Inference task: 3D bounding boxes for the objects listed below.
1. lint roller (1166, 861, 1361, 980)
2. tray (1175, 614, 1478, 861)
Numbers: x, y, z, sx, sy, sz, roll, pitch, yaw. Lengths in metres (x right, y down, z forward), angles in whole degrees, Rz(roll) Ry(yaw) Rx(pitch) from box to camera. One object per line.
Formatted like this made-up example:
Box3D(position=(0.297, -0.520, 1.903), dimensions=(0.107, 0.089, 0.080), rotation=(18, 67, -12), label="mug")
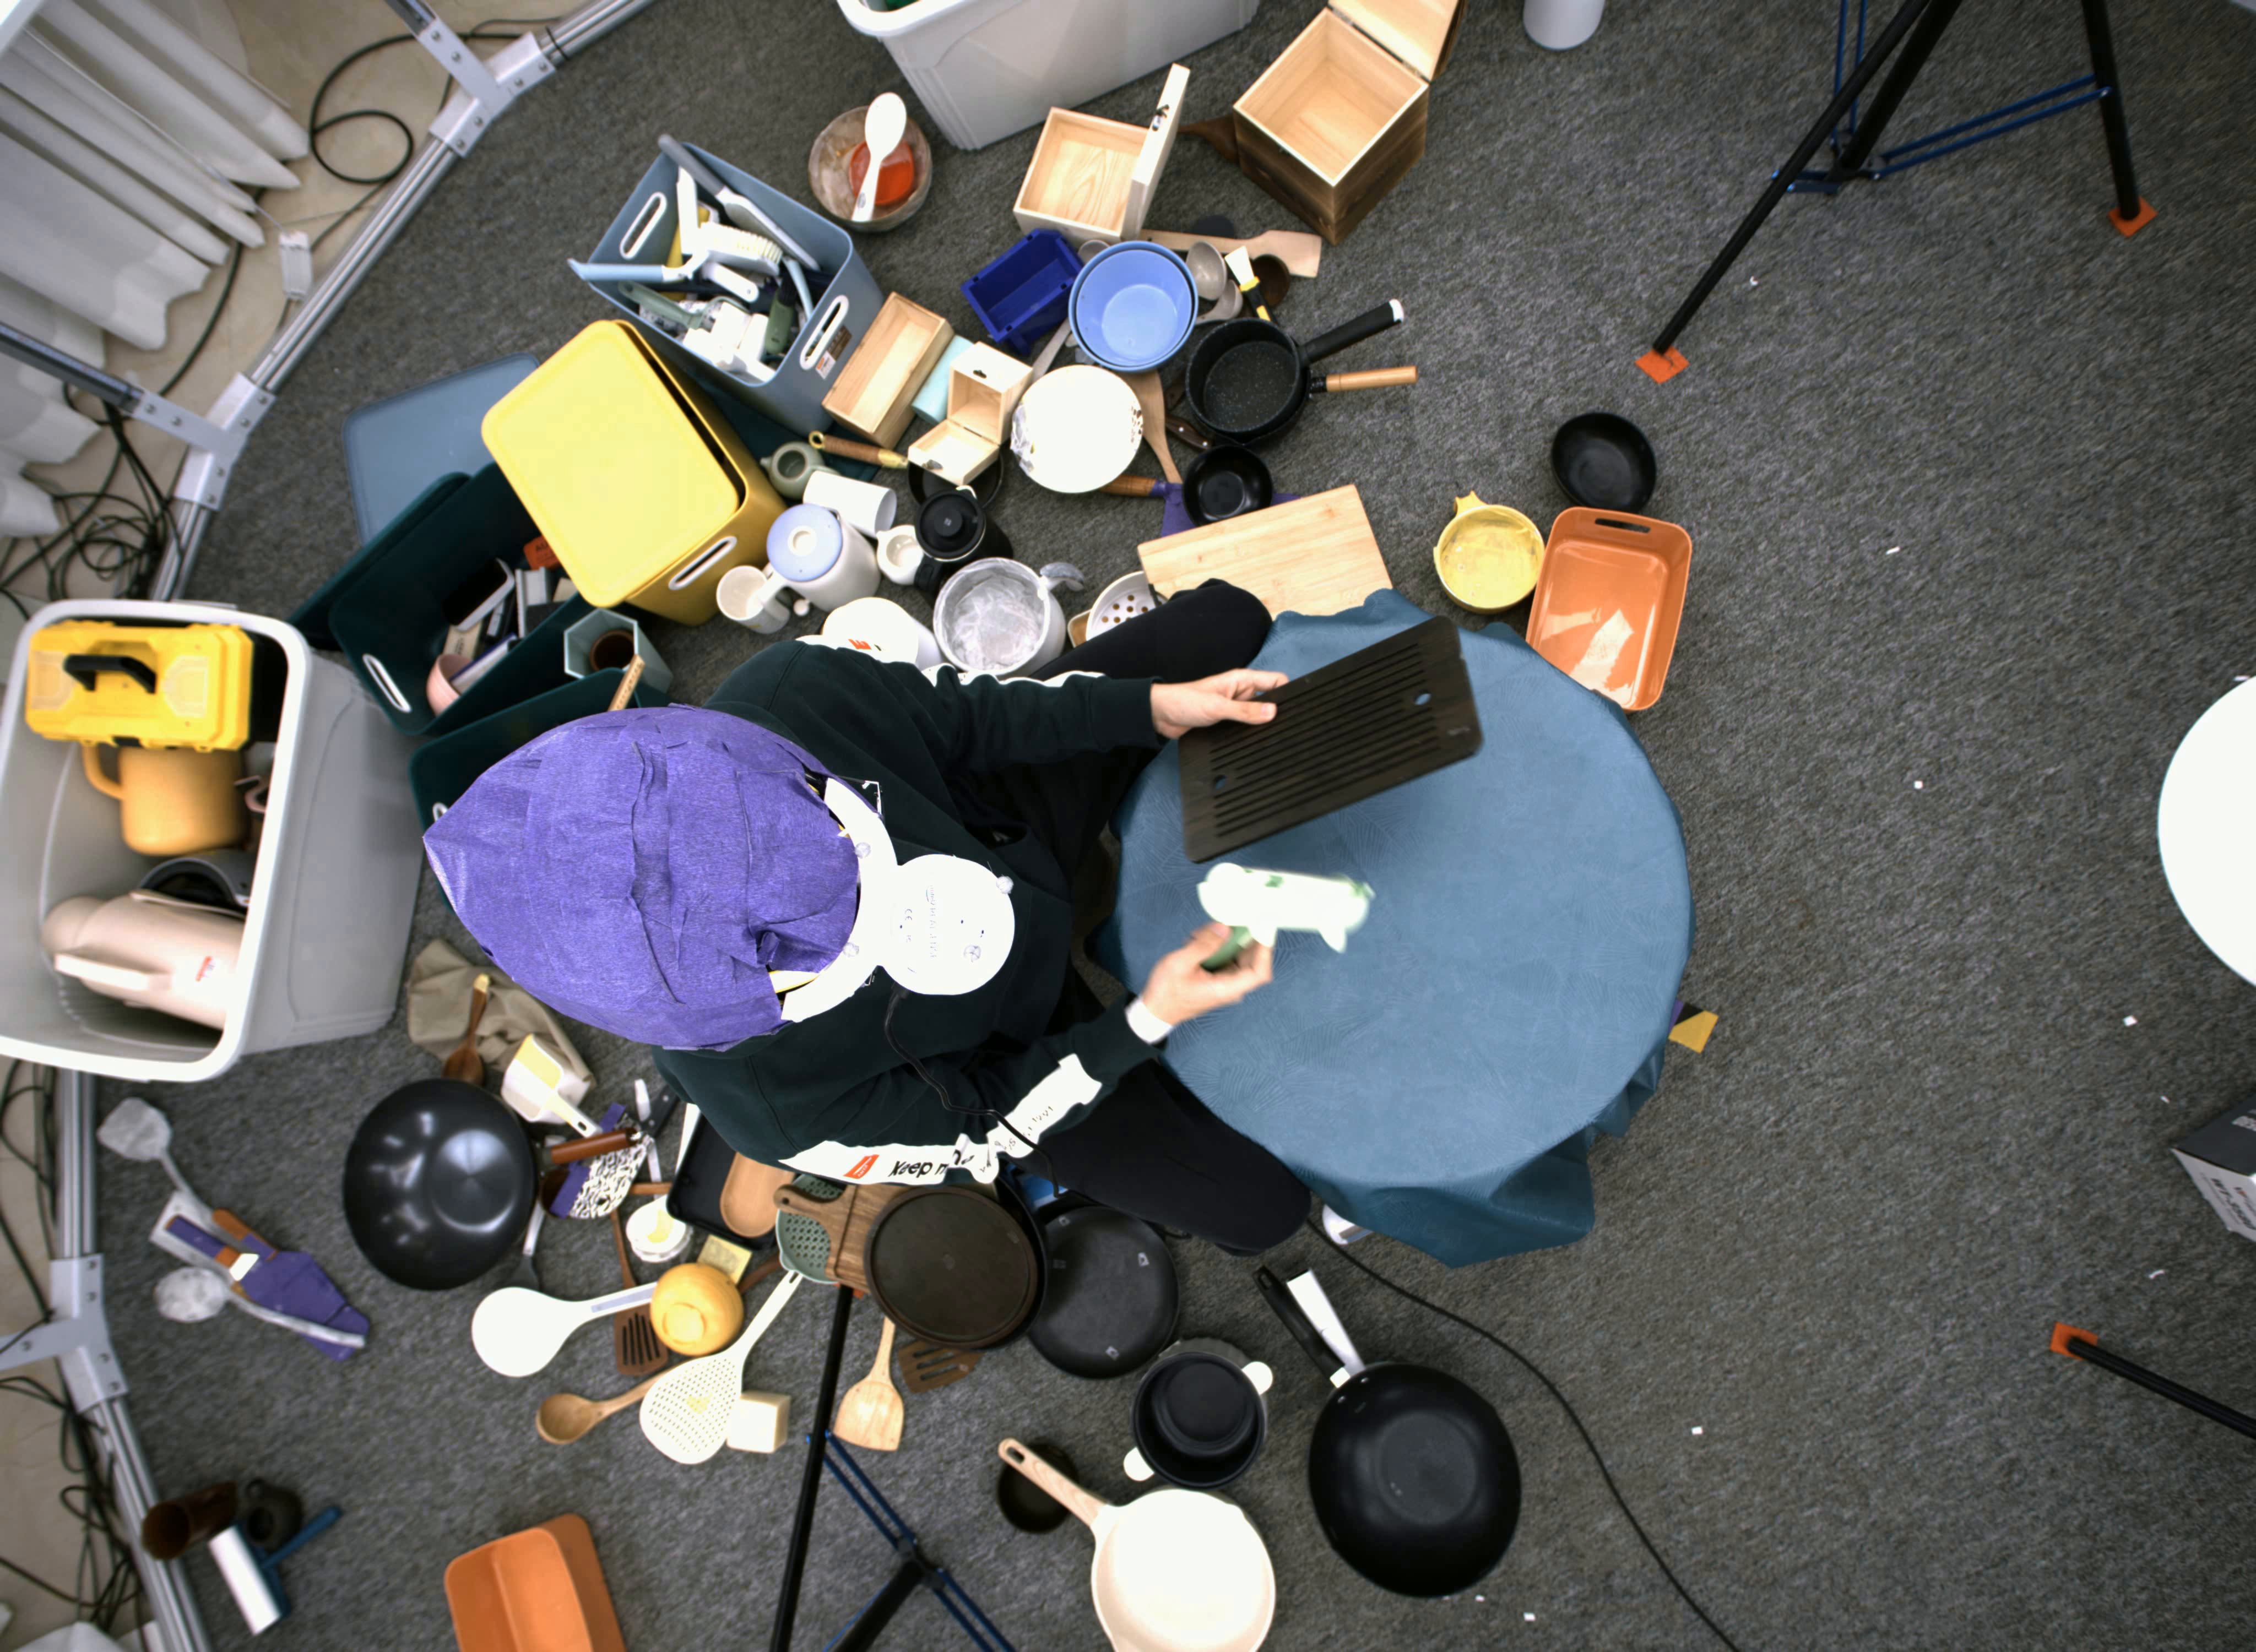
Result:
Box3D(position=(0.109, 0.103, 1.282), dimensions=(0.187, 0.197, 0.081), rotation=(-50, 60, 27), label="lint roller")
Box3D(position=(0.178, -0.081, 1.301), dimensions=(0.310, 0.019, 0.165), rotation=(-23, 47, 27), label="tray")
